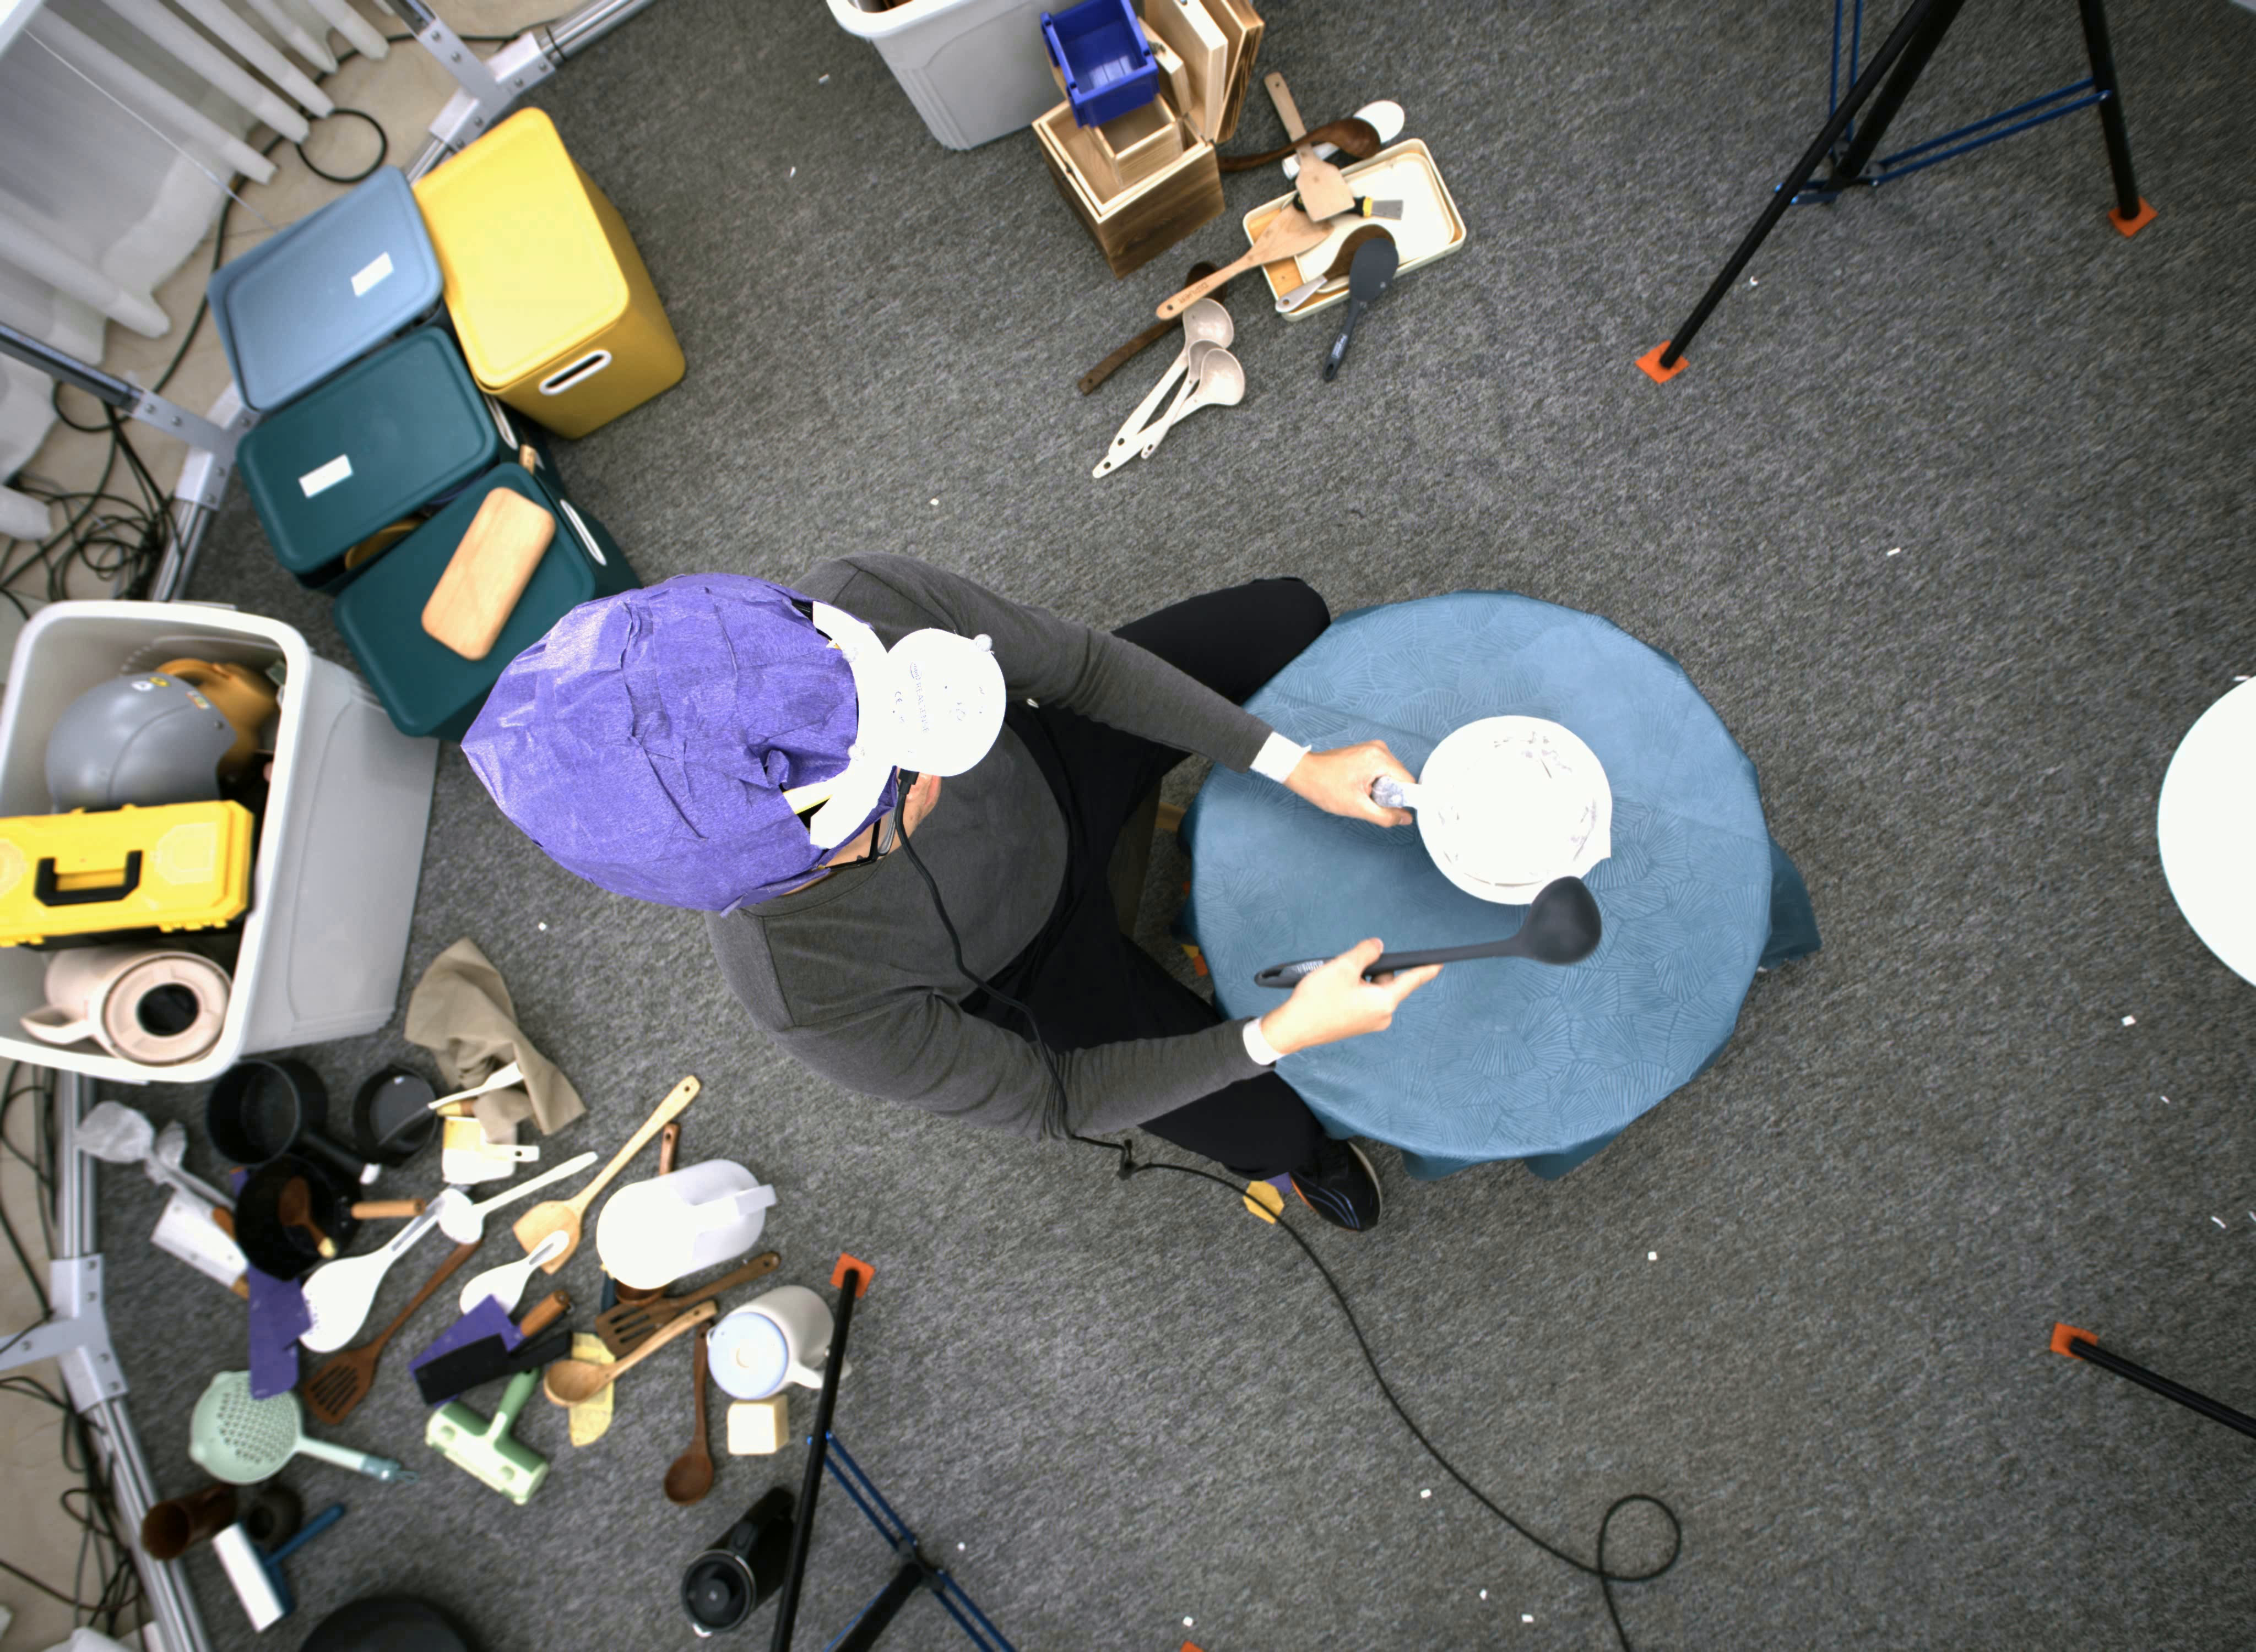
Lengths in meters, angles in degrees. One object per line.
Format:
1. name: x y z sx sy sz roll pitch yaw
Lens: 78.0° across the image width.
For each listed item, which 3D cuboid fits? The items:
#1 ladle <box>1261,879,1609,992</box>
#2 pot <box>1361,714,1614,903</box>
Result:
1. ladle: 0.274 0.105 1.230 0.314 0.065 0.084 -7 48 -6
2. pot: 0.345 -0.025 1.346 0.234 0.135 0.179 7 96 9
